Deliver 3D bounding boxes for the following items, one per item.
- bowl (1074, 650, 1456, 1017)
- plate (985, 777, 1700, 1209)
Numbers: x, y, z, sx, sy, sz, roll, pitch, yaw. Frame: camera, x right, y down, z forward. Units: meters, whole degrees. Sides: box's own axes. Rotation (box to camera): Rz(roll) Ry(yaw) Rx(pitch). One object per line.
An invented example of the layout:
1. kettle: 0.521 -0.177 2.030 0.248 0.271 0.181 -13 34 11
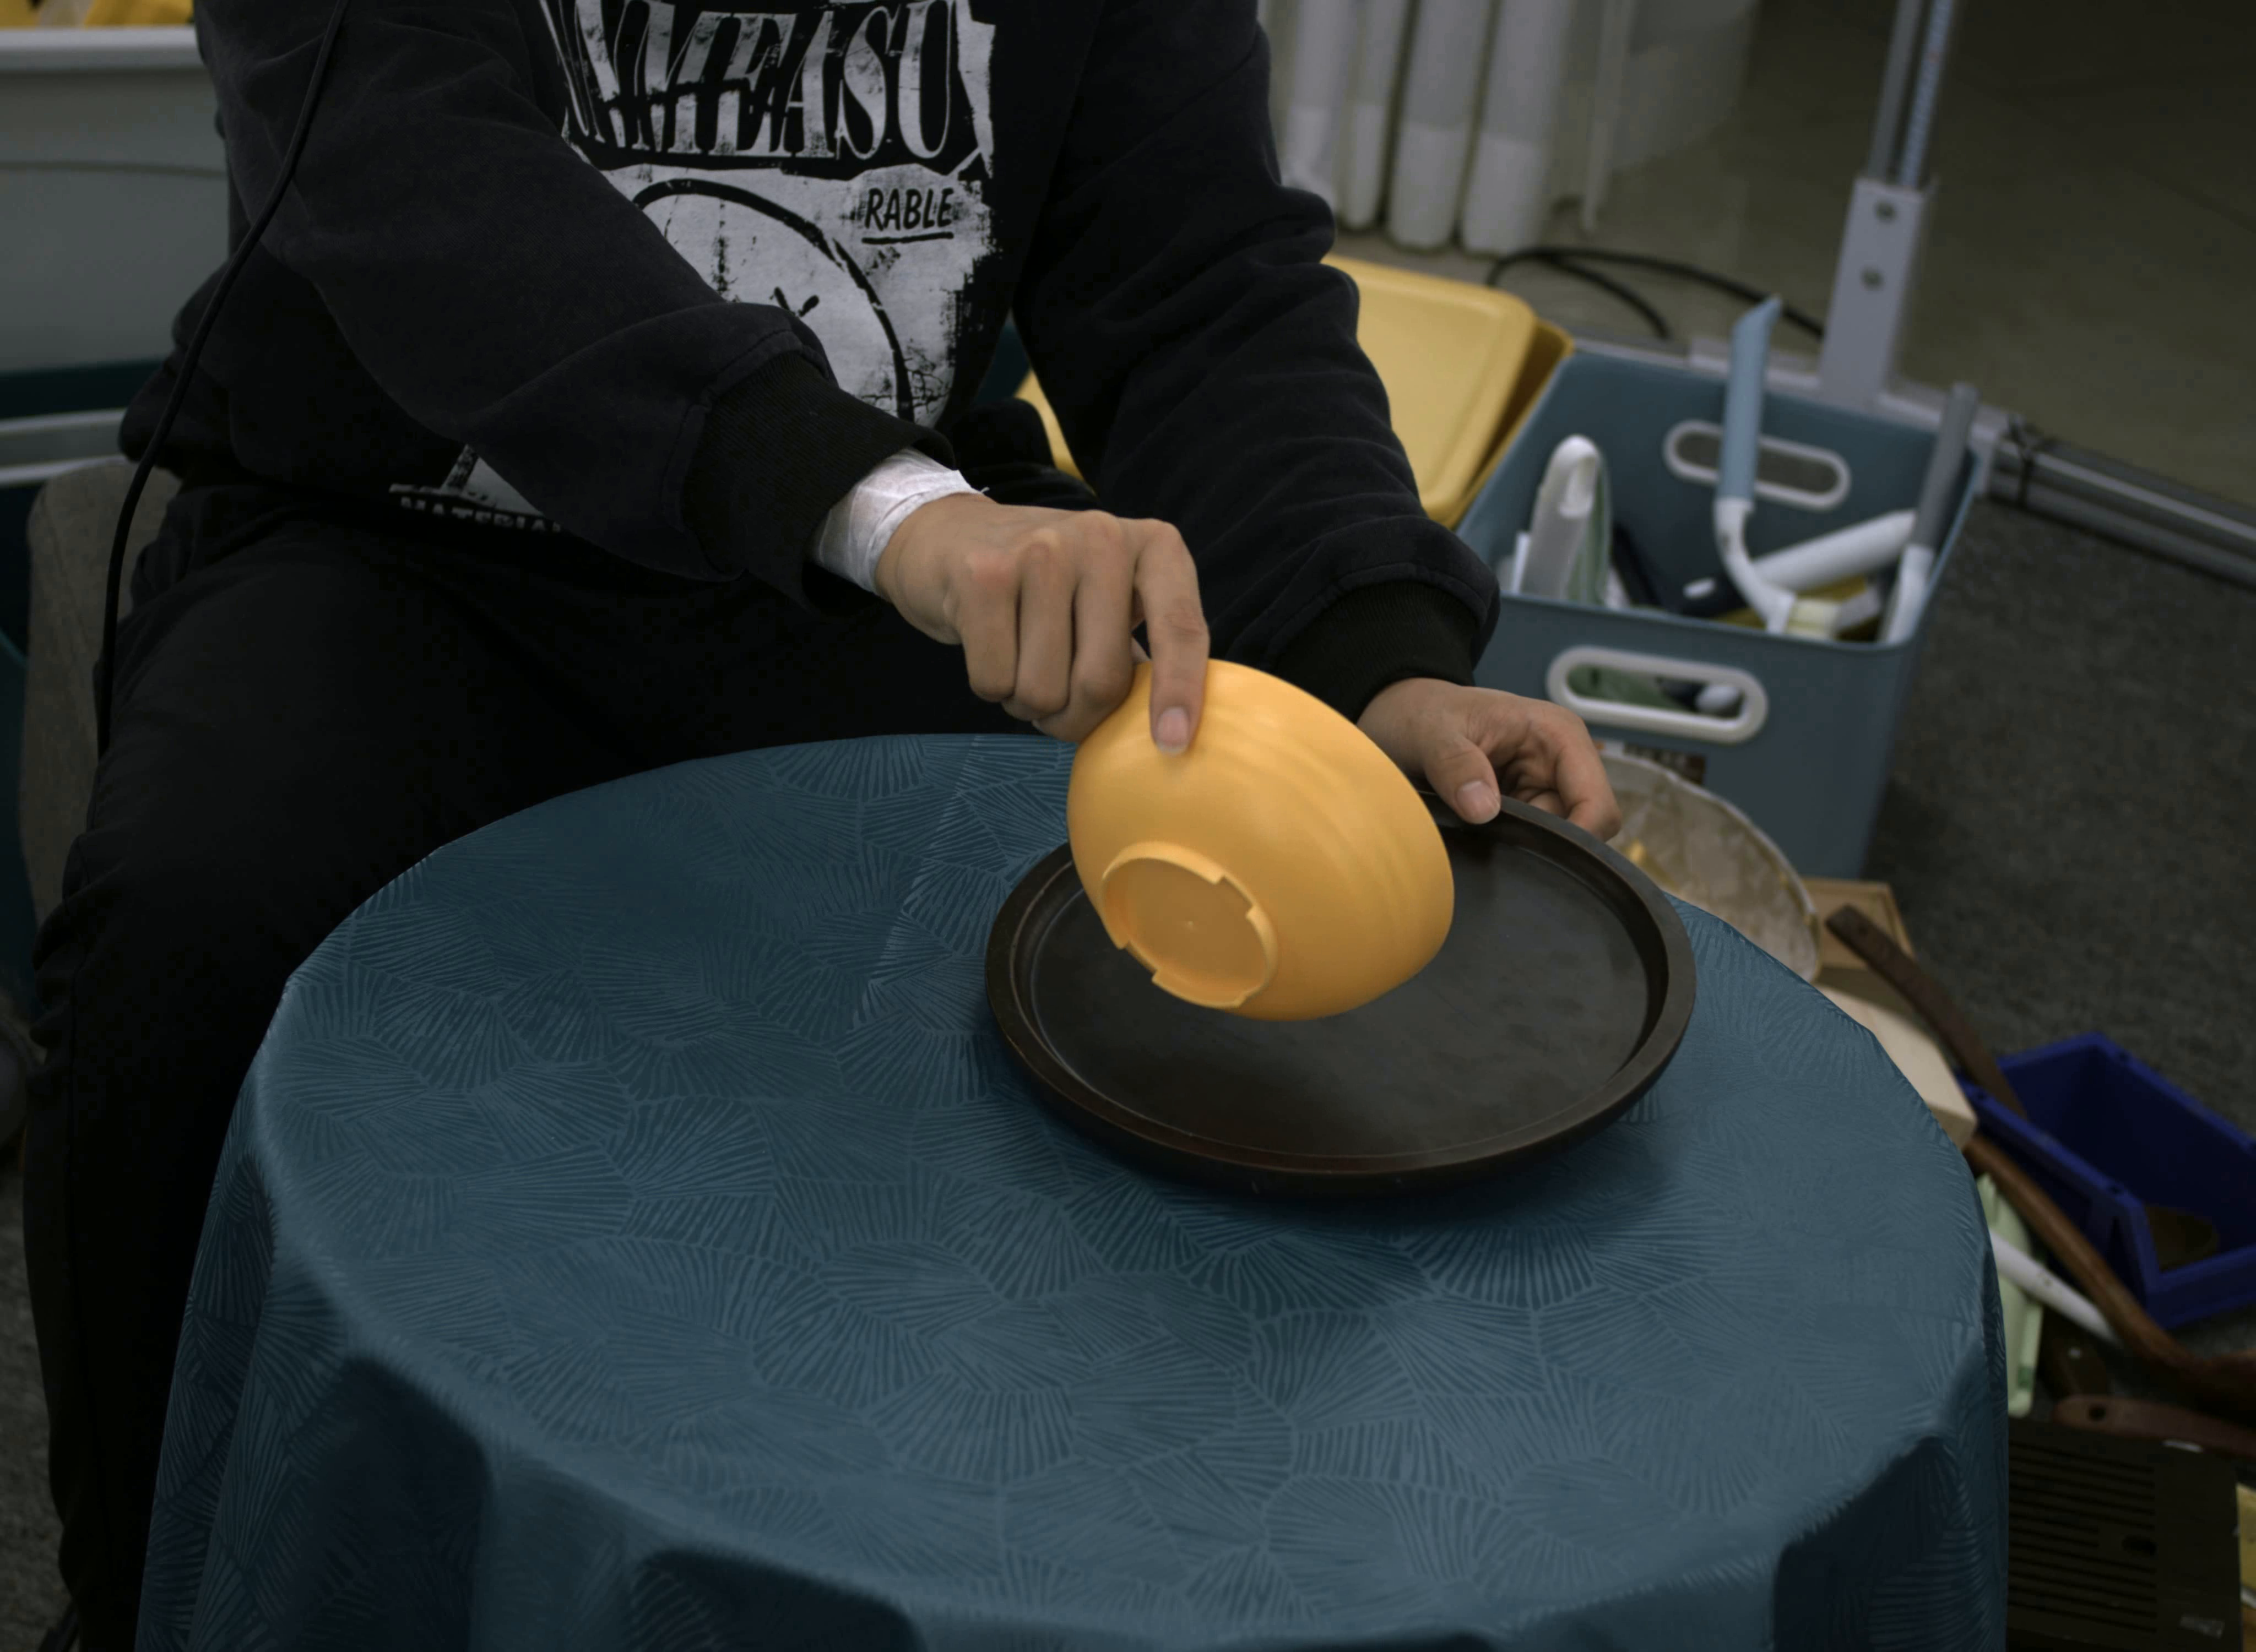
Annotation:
1. bowl: 0.034 0.015 1.788 0.146 0.144 0.060 21 50 26
2. plate: 0.076 0.057 1.888 0.254 0.029 0.256 -2 32 1
